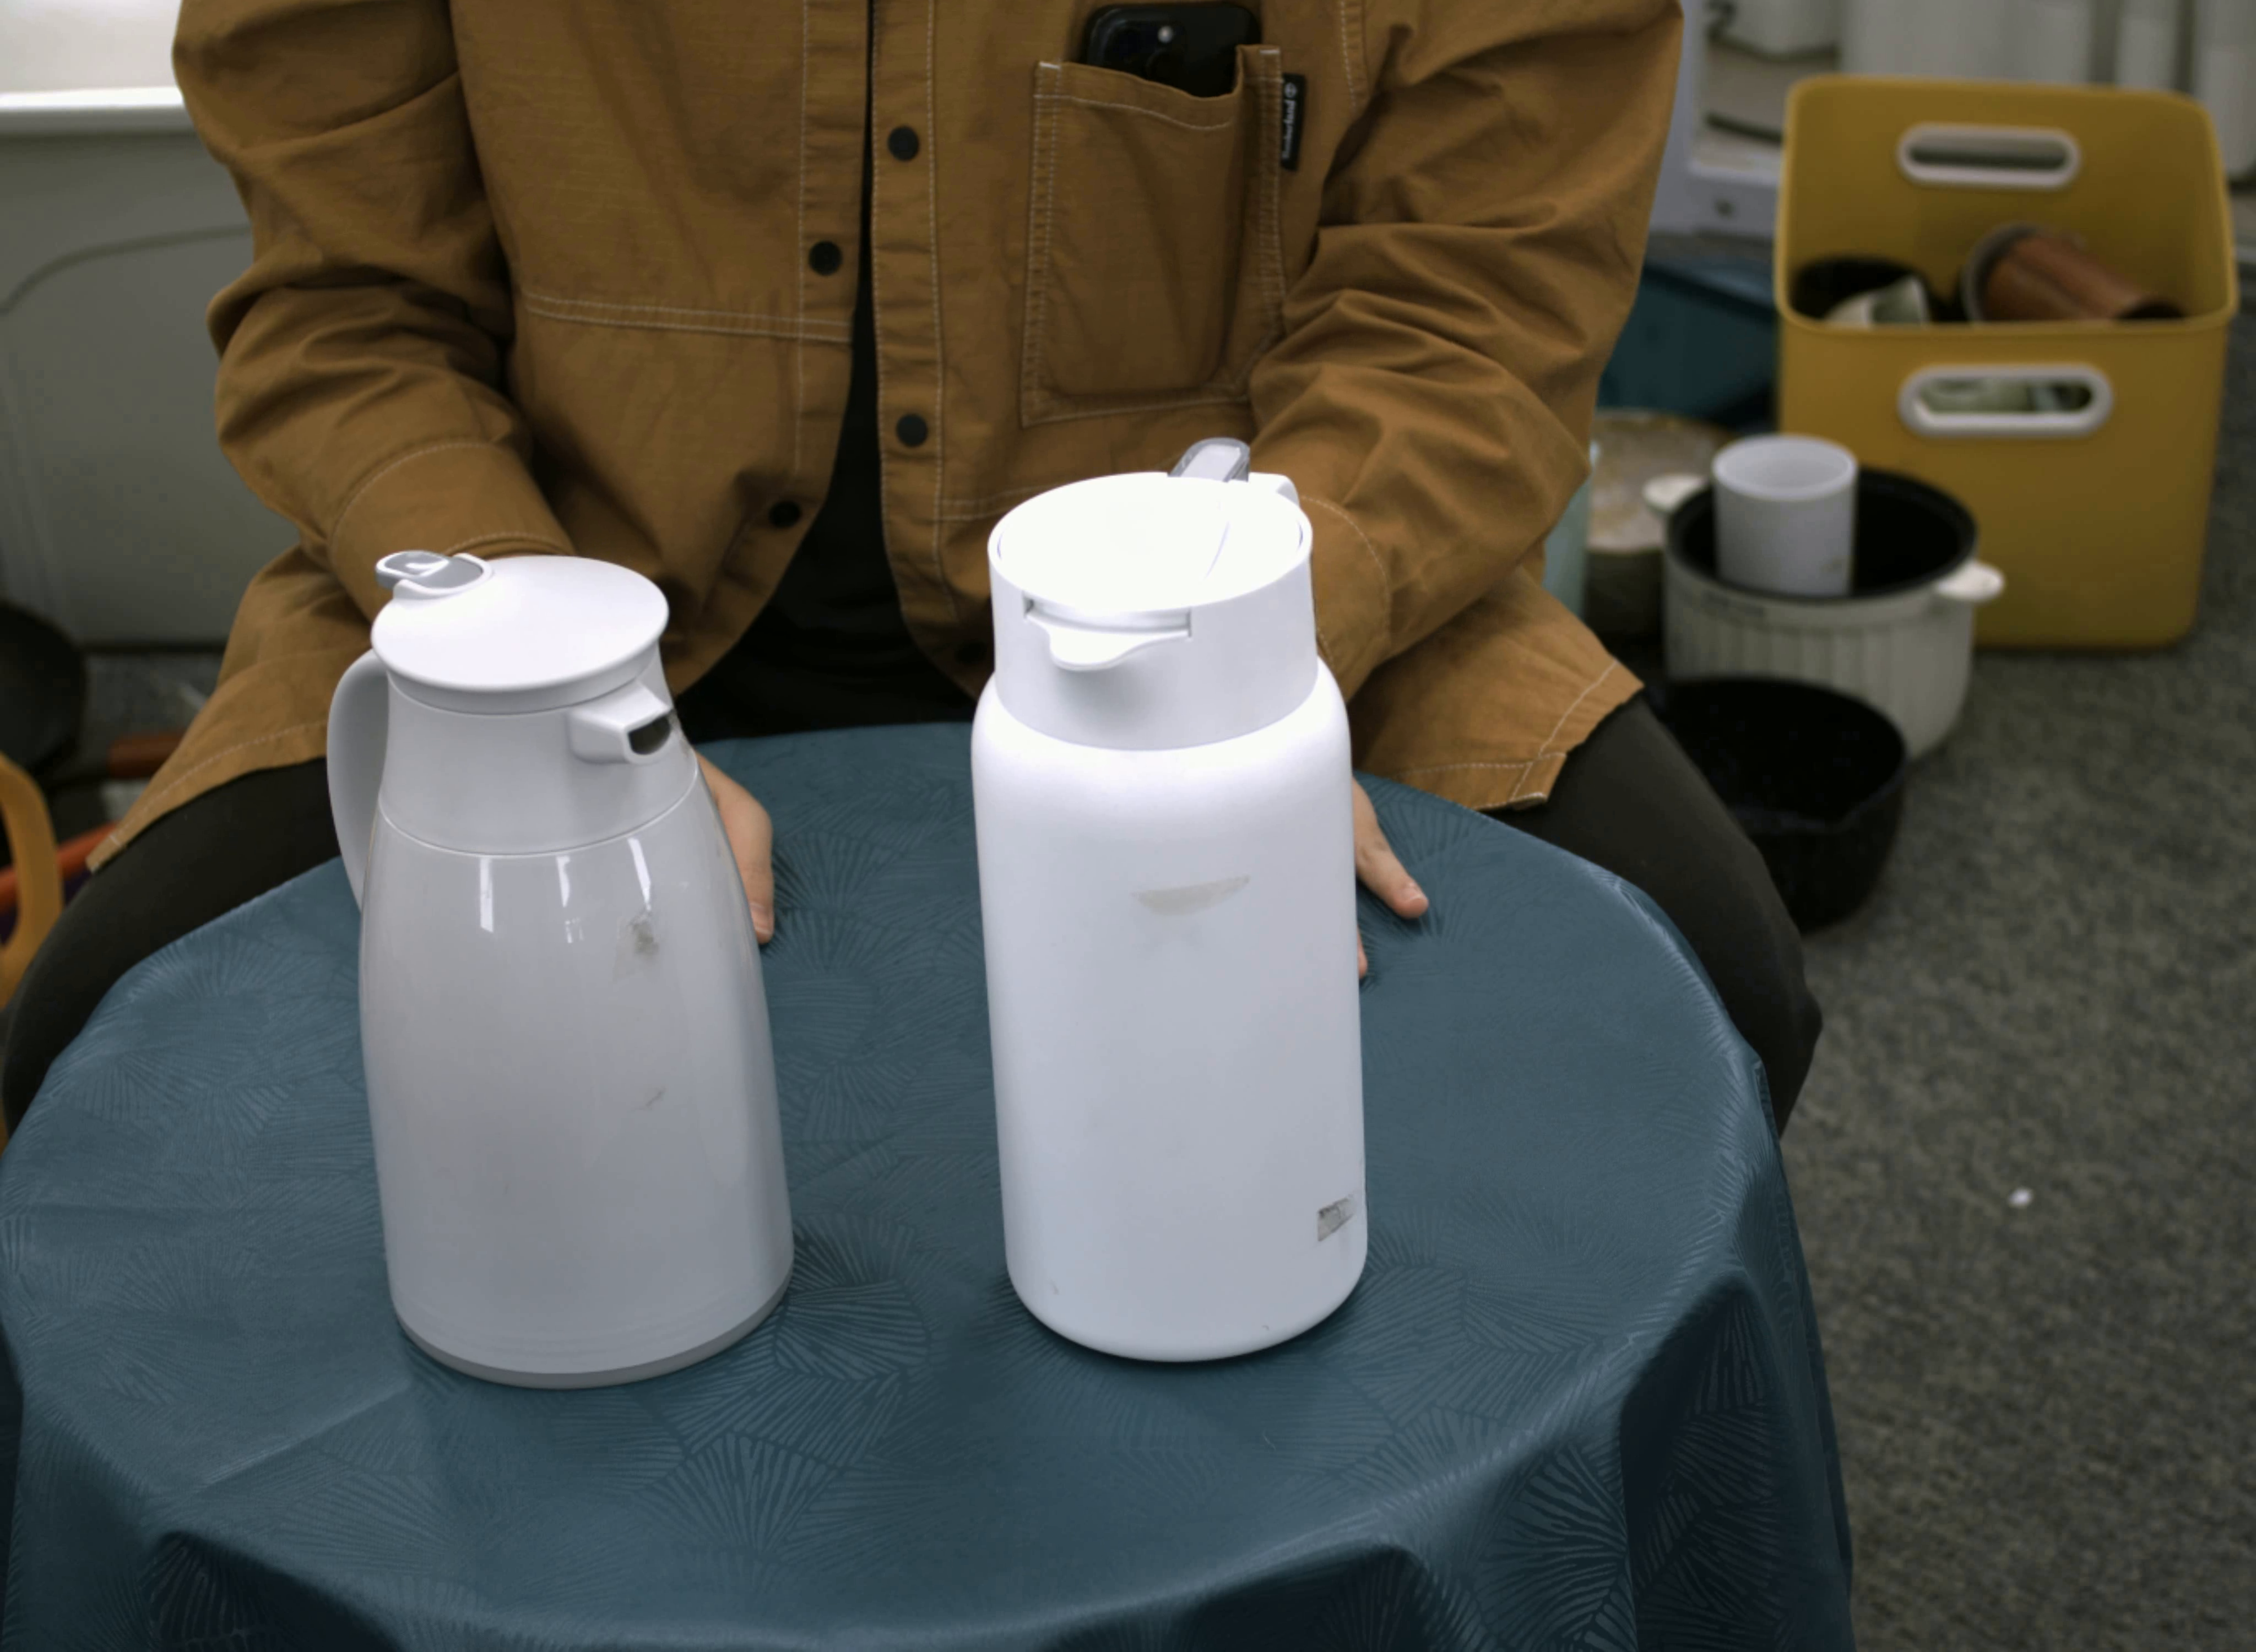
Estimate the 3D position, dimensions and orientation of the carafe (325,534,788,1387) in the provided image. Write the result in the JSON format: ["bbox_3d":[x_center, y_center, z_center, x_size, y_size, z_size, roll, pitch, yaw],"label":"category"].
[{"bbox_3d":[-0.195,0.032,1.783,0.134,0.246,0.167,-25,33,-38],"label":"carafe"}]

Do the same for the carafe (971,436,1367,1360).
[{"bbox_3d":[0.017,0.019,1.768,0.123,0.266,0.176,4,27,18],"label":"carafe"}]
